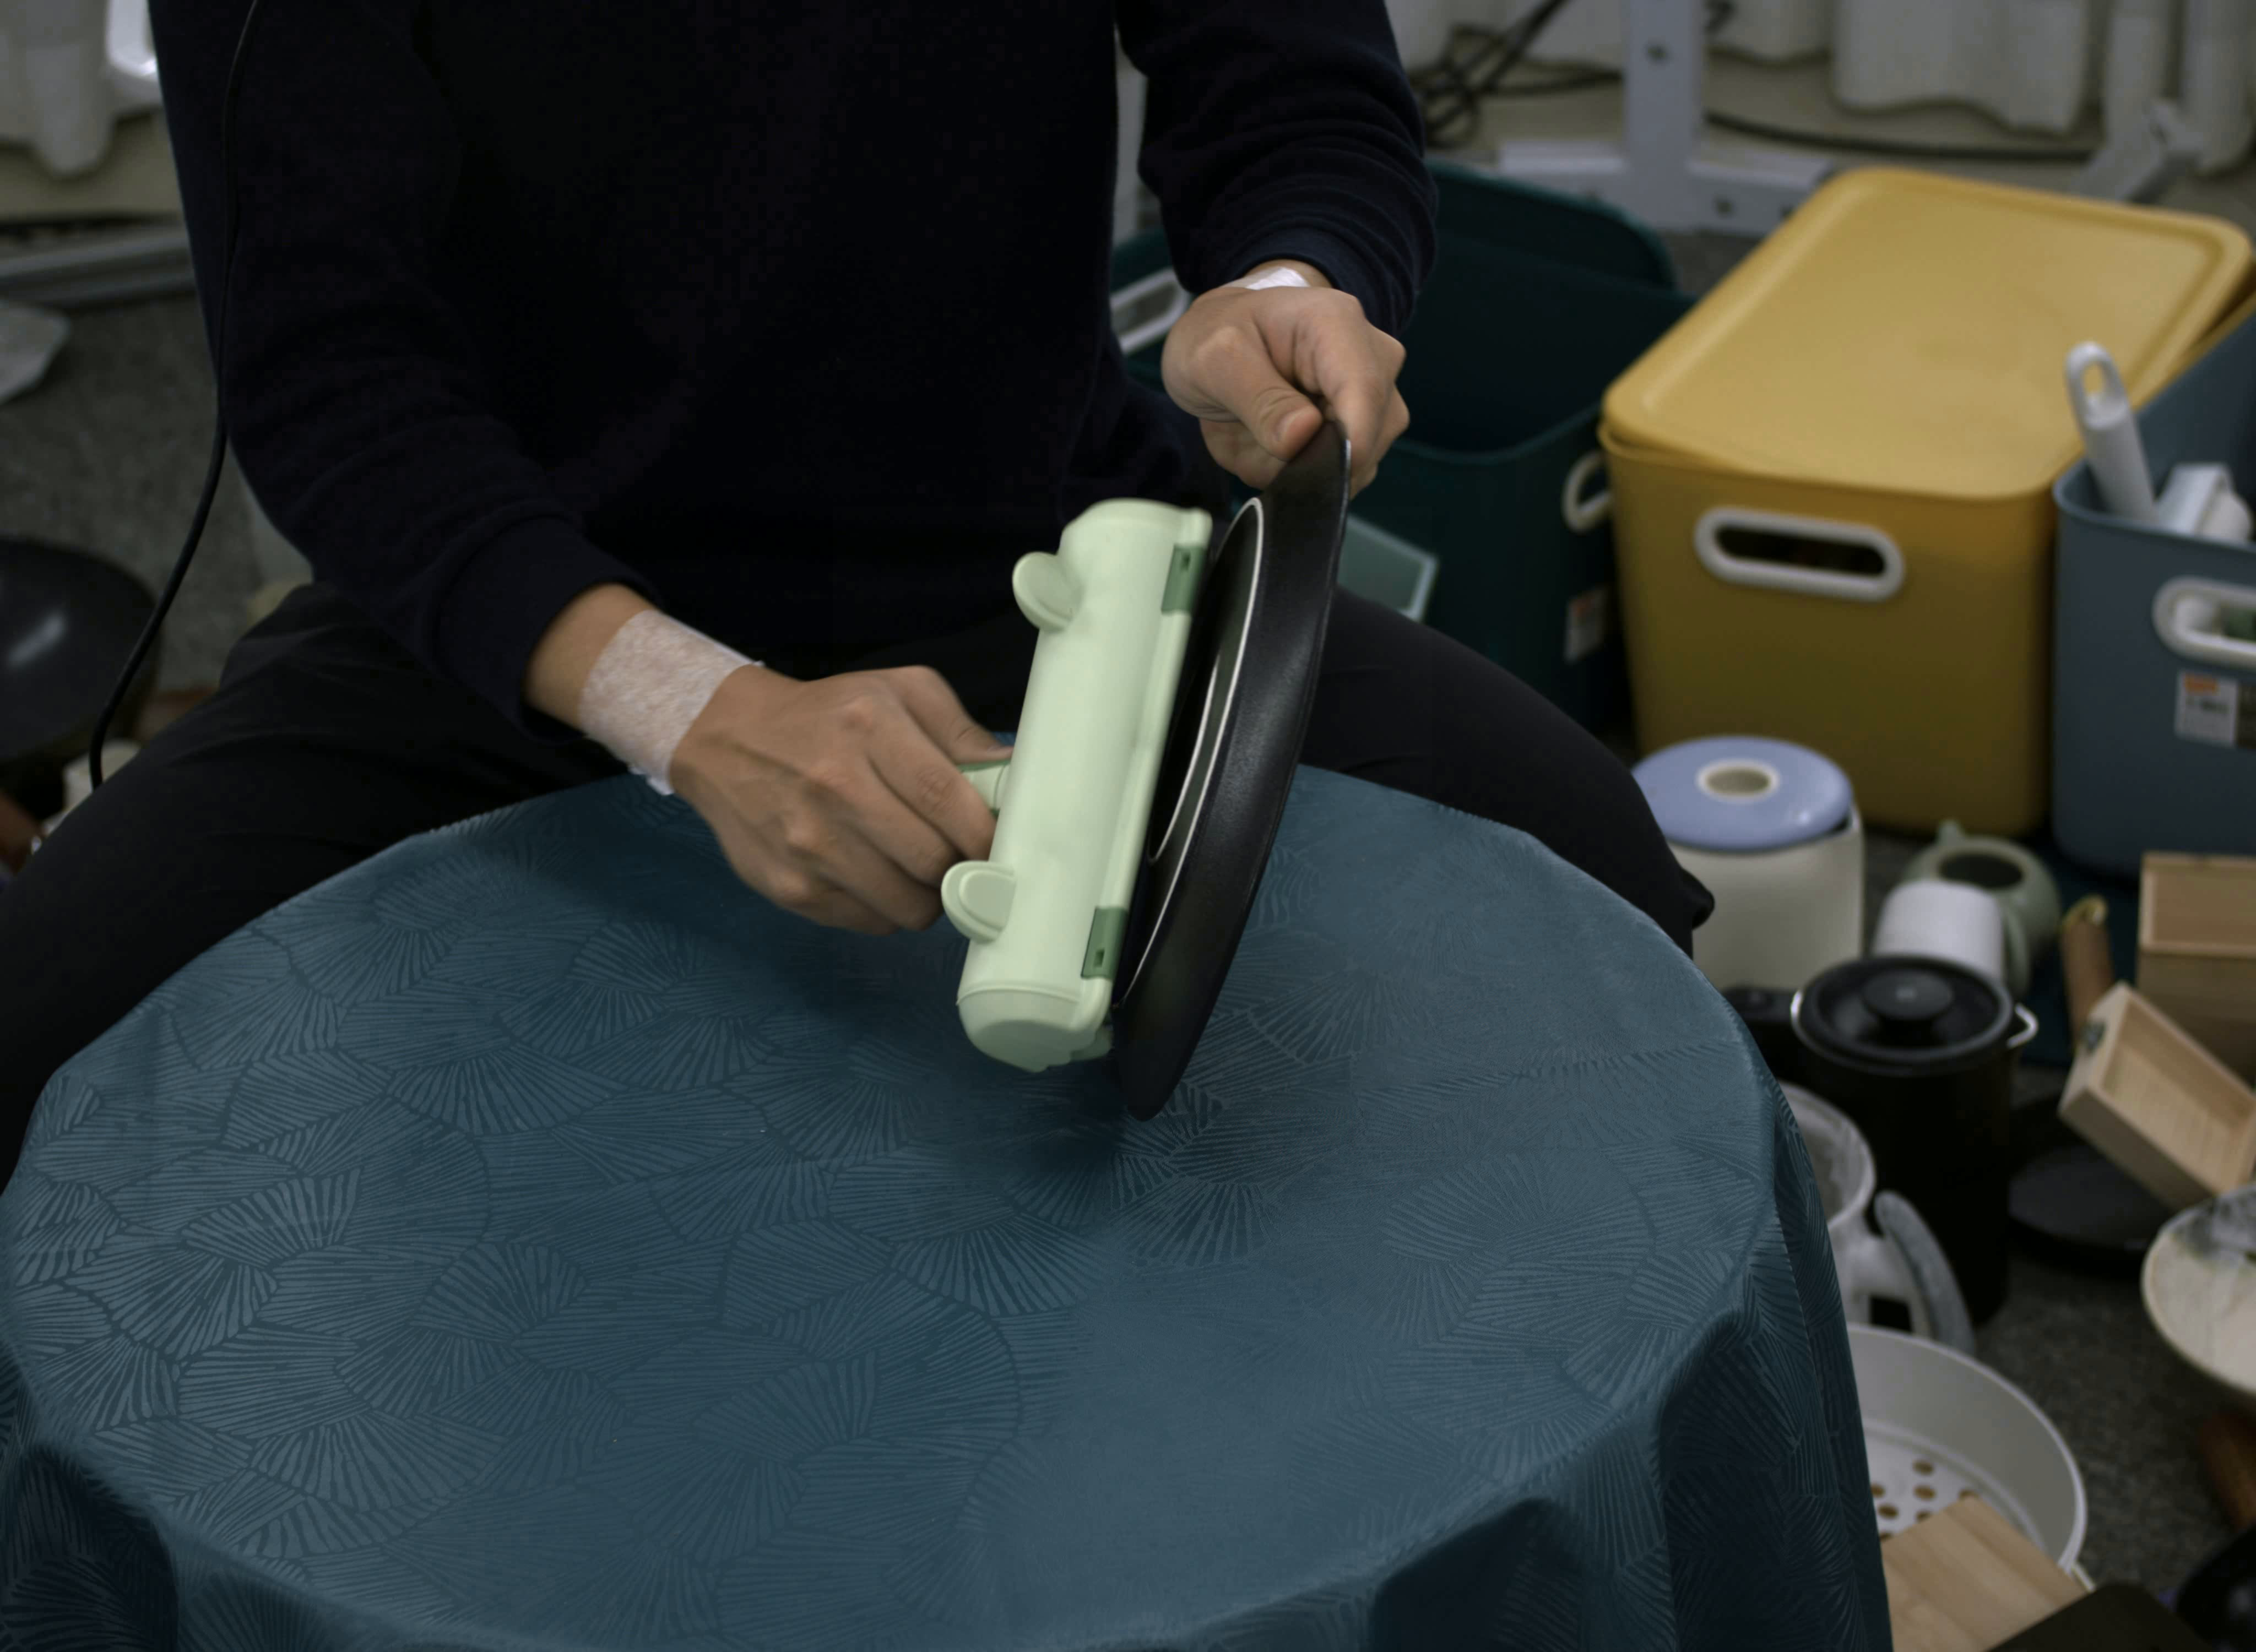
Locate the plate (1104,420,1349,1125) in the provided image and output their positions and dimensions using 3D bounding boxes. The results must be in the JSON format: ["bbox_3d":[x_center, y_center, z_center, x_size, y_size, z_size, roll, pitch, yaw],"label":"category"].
[{"bbox_3d":[0.027,-0.020,1.880,0.023,0.241,0.248,16,26,-6],"label":"plate"}]

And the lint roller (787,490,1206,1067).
[{"bbox_3d":[-0.062,-0.015,1.921,0.181,0.081,0.202,-7,60,35],"label":"lint roller"}]
